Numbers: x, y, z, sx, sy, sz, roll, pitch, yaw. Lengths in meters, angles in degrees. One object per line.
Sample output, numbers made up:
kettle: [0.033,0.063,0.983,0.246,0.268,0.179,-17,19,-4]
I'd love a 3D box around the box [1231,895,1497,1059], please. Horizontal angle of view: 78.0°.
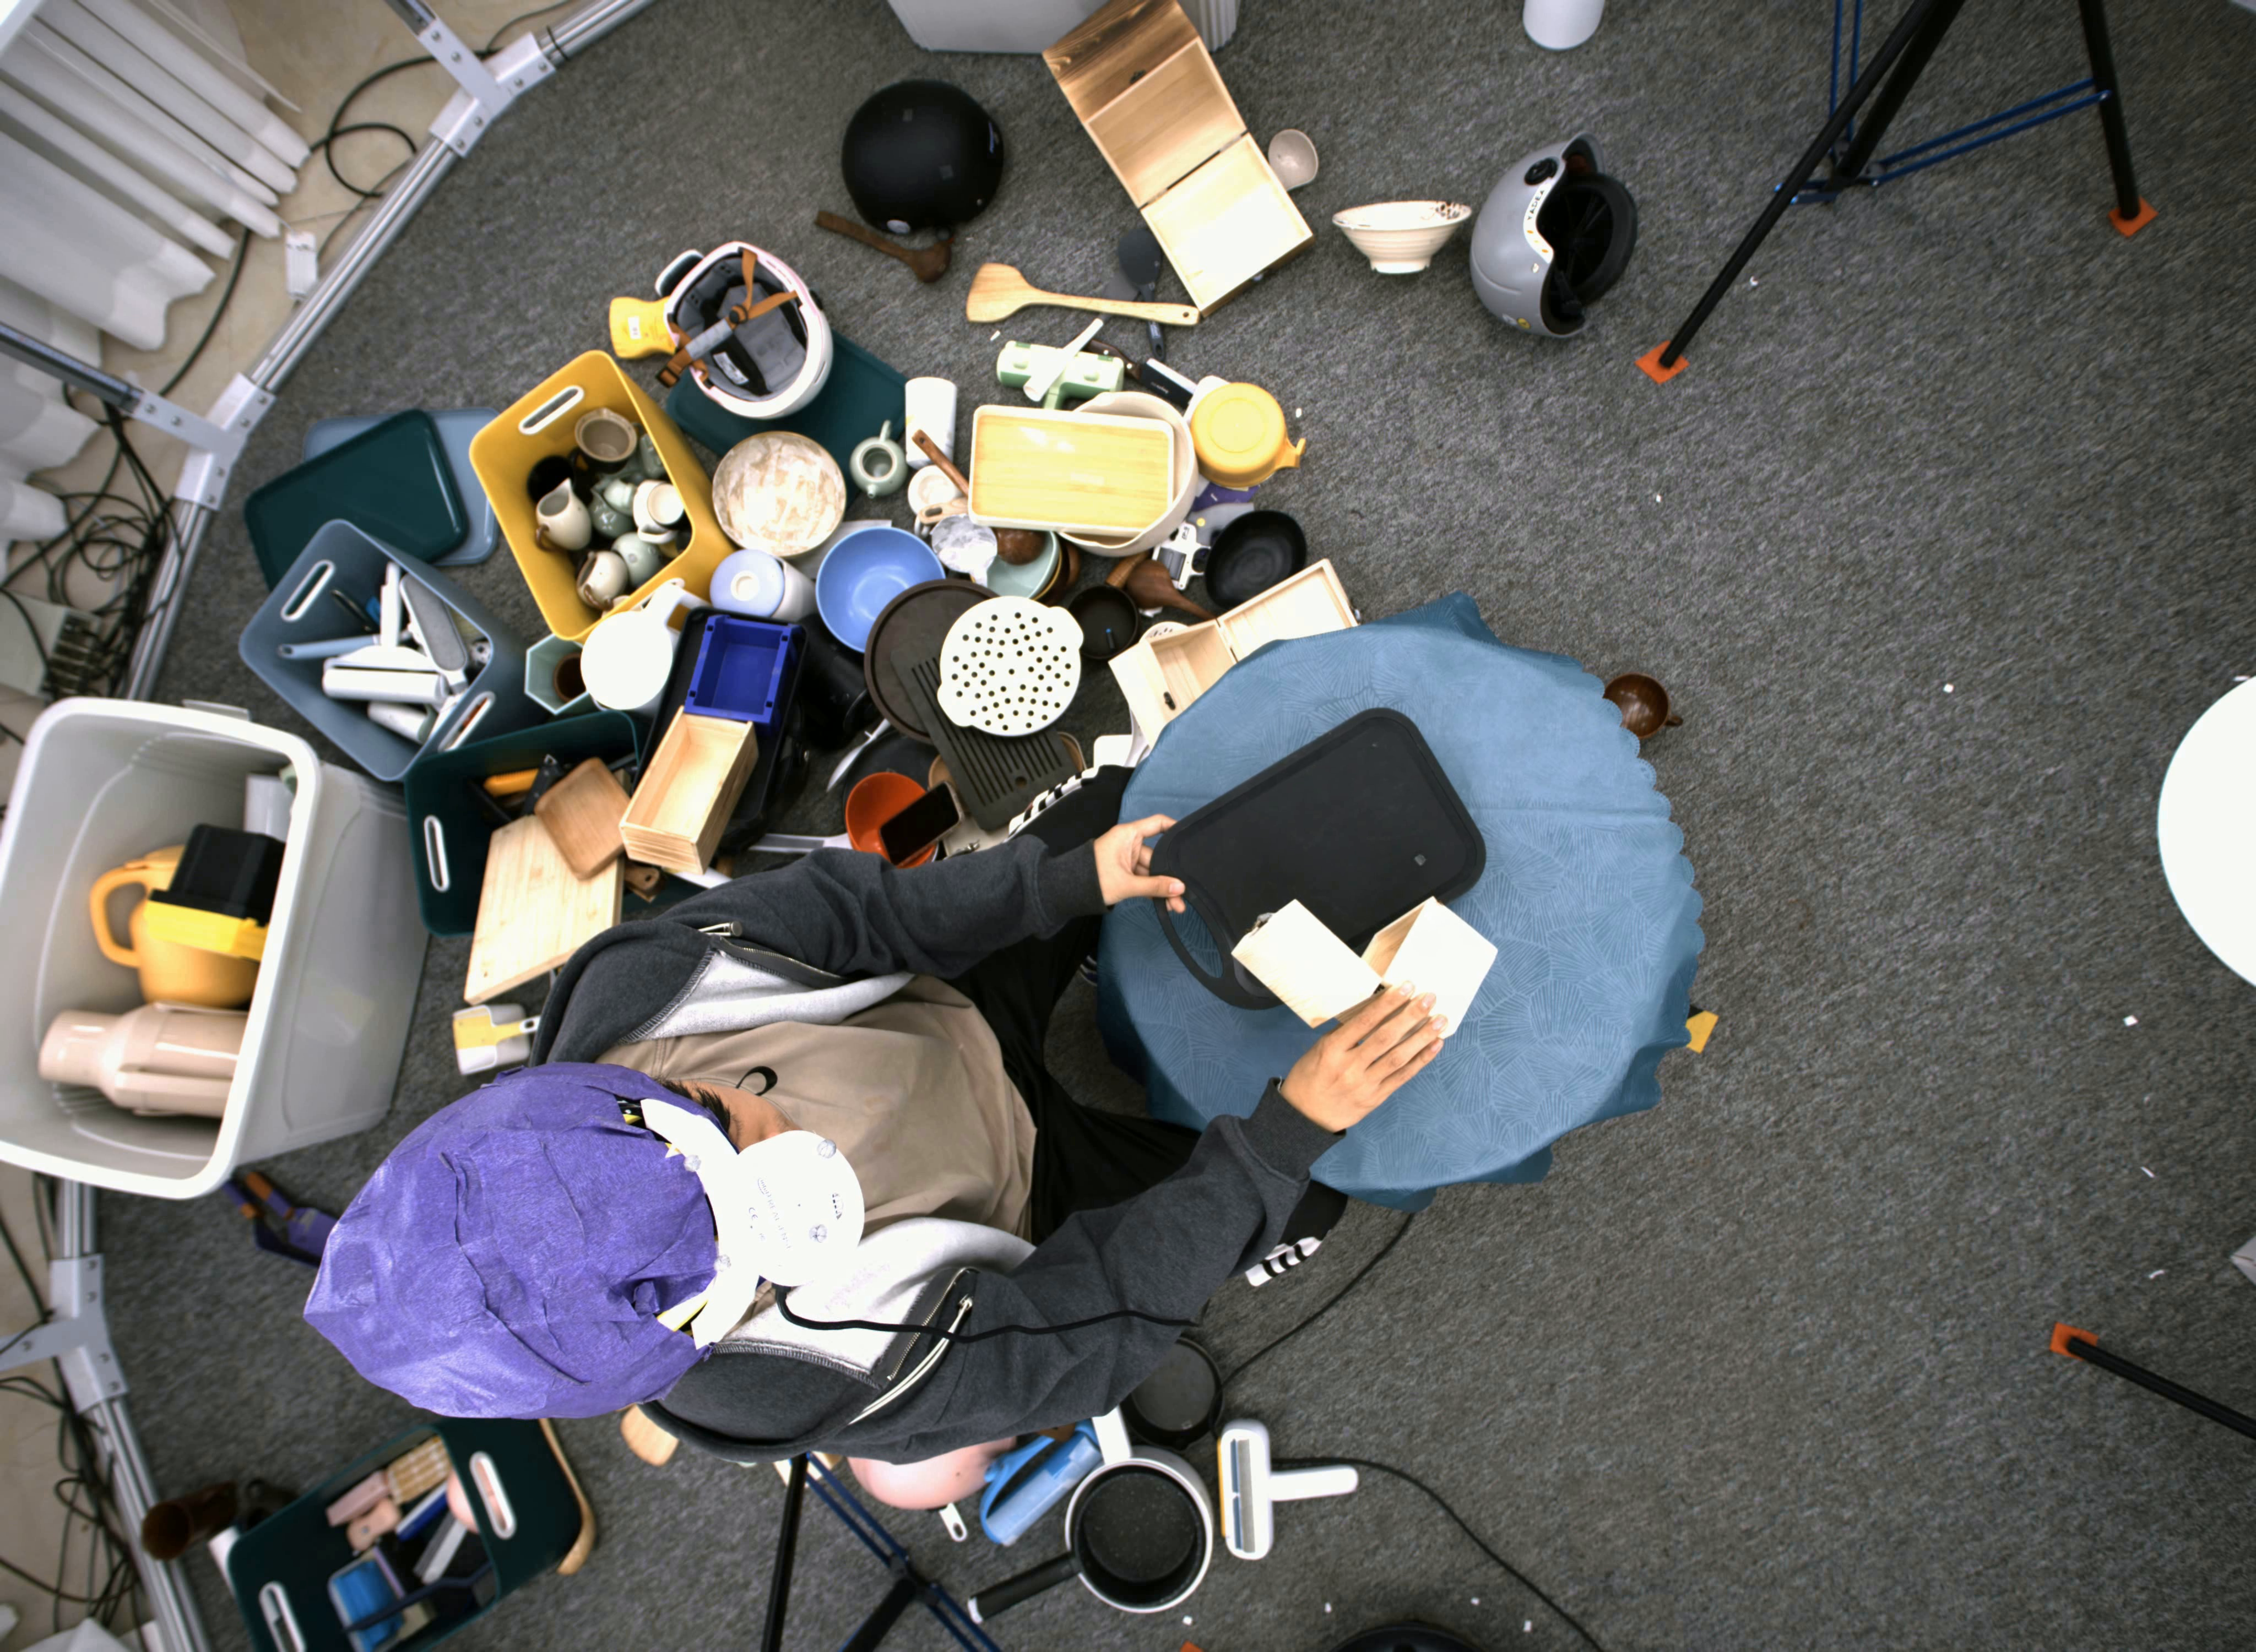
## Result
box: [0.210,0.109,1.231,0.185,0.105,0.131,39,59,-4]

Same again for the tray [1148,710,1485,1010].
tray: [0.183,0.038,1.378,0.326,0.010,0.211,-30,92,1]
